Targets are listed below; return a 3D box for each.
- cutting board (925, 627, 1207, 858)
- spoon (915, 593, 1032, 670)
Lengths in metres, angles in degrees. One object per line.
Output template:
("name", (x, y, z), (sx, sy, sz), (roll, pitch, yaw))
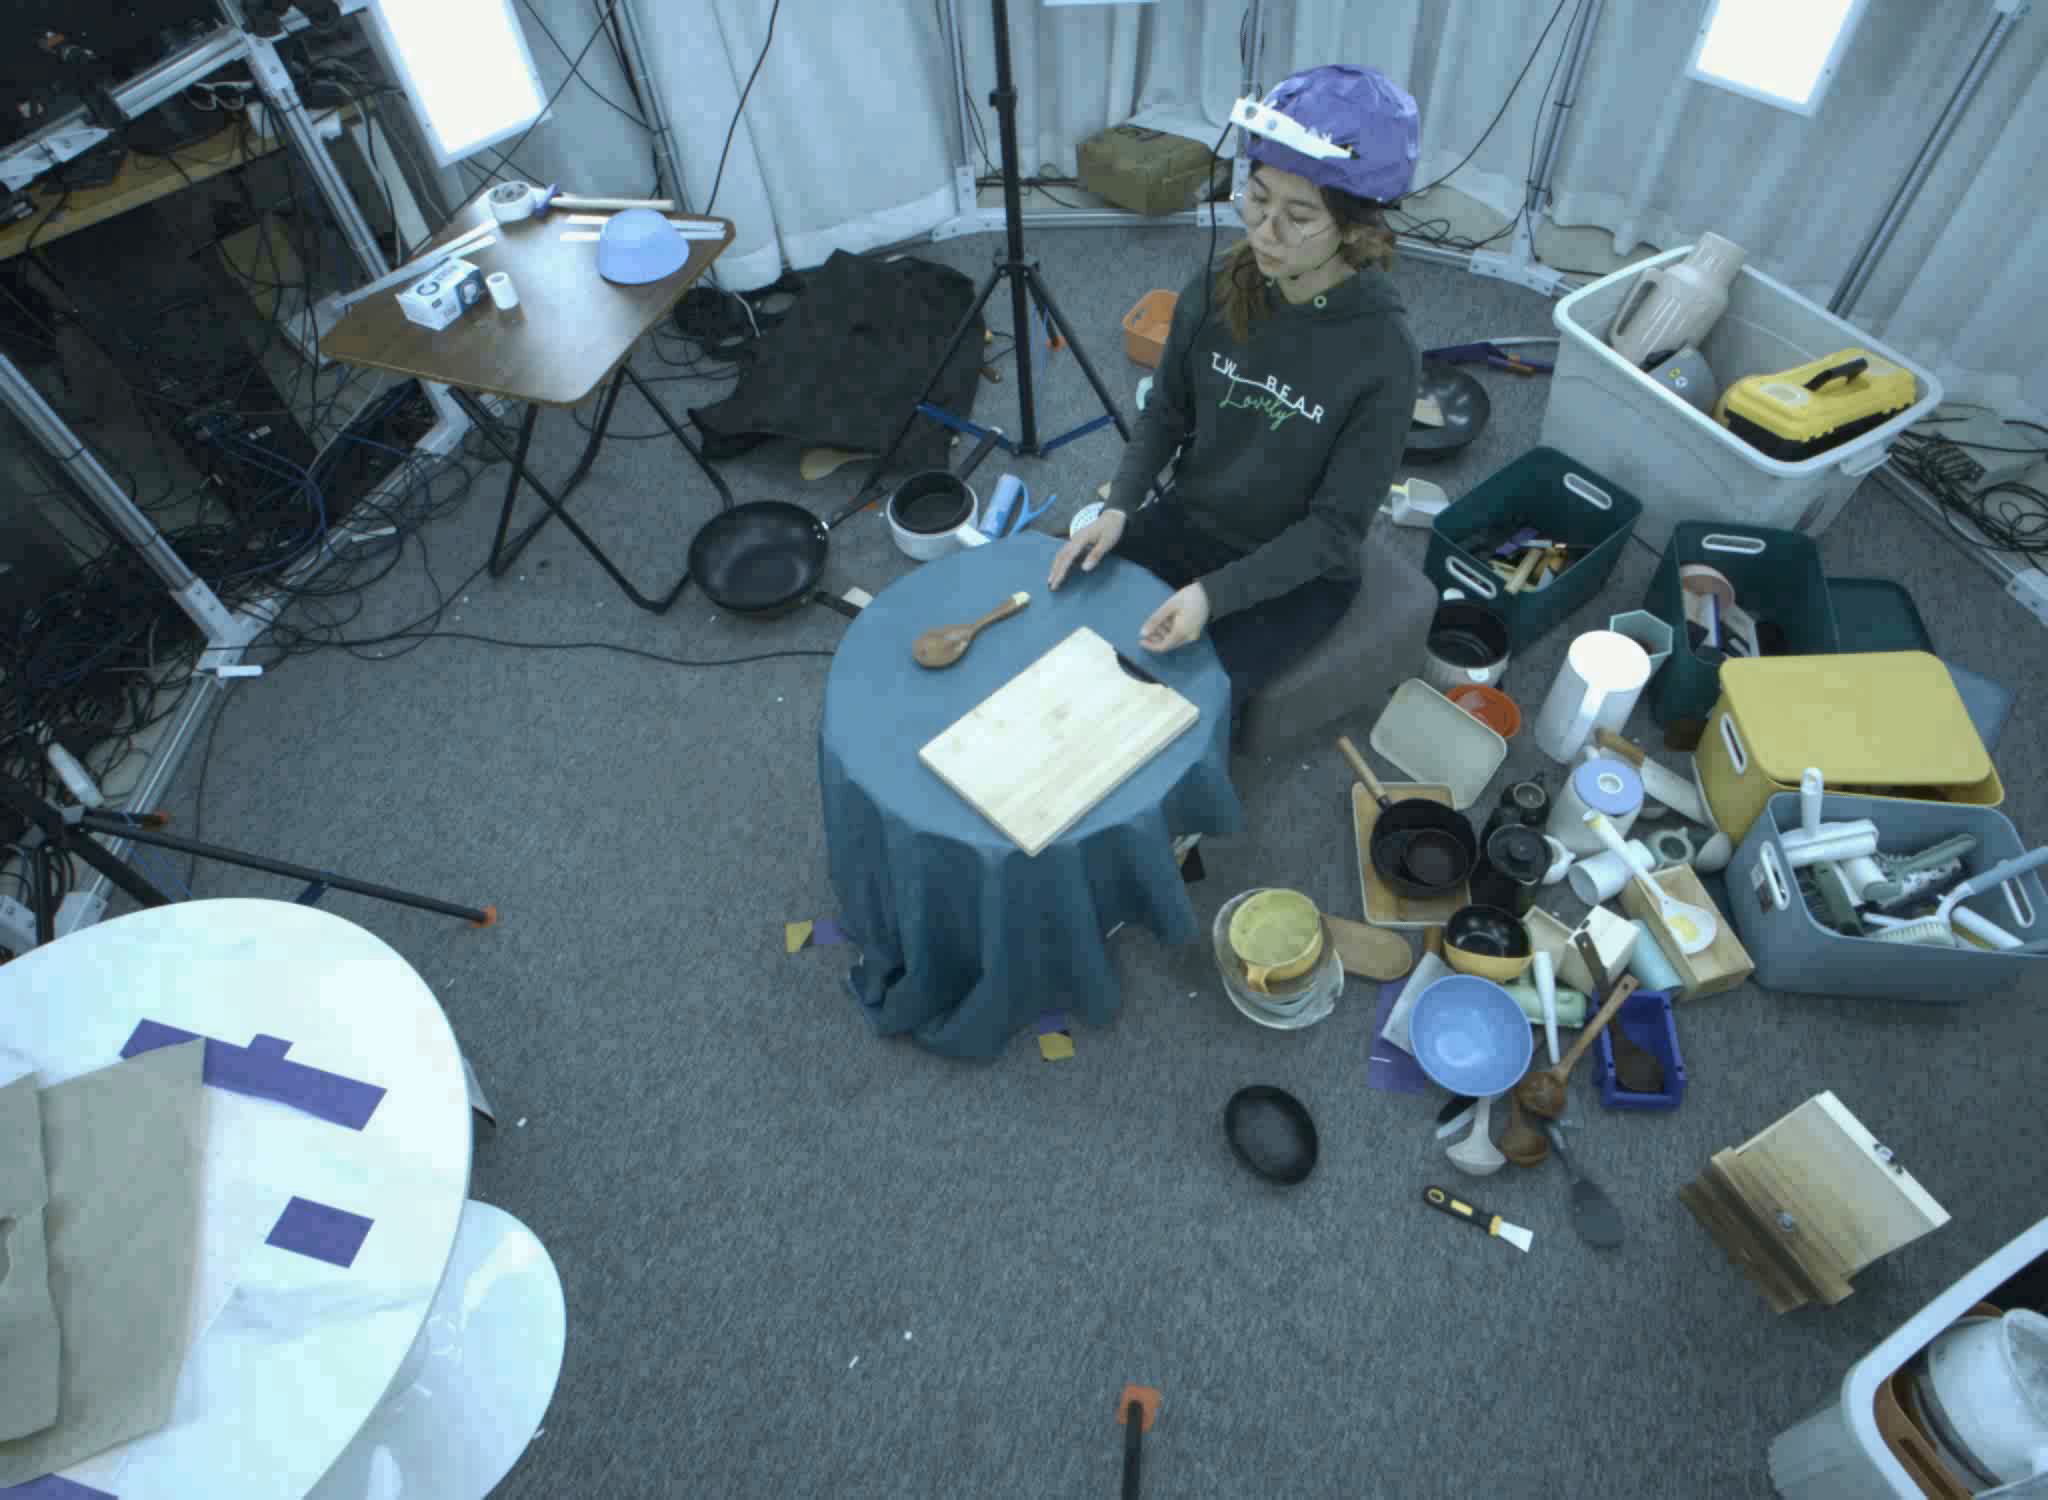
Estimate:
("cutting board", (0.060, -0.021, 1.801), (0.351, 0.024, 0.246), (-40, 63, -23))
("spoon", (-0.076, -0.186, 1.920), (0.217, 0.017, 0.074), (-34, 59, -19))
